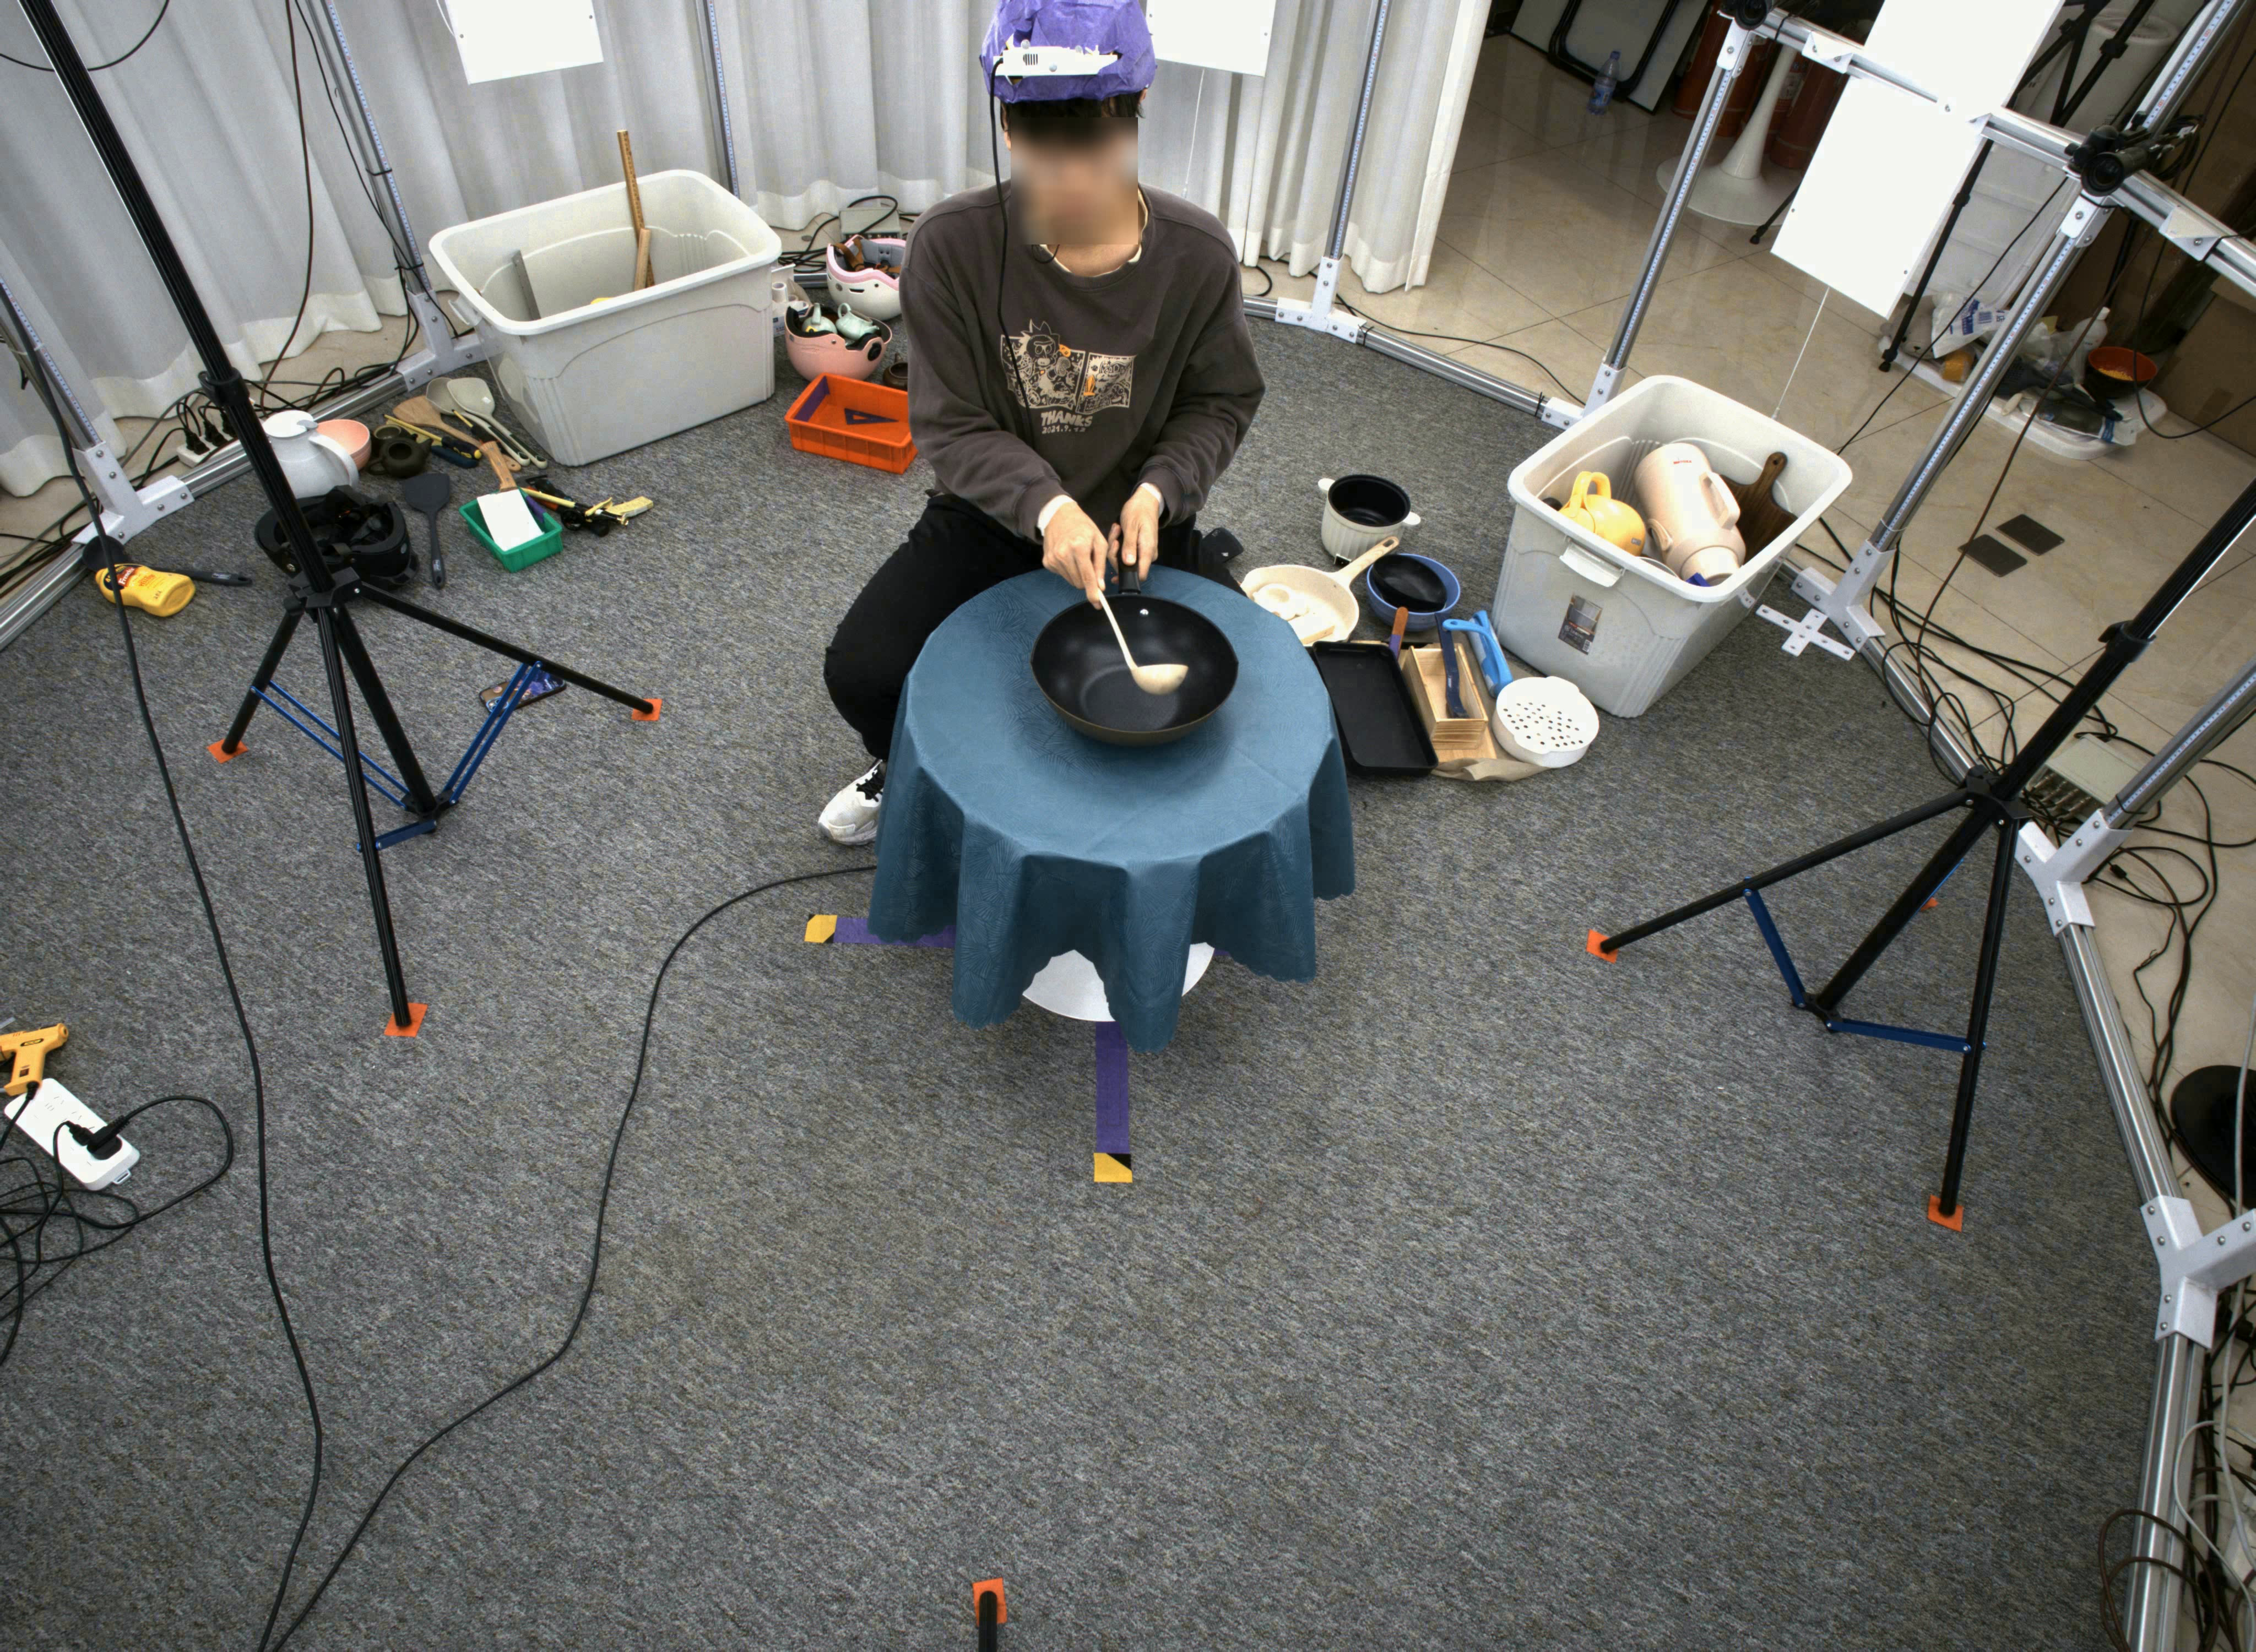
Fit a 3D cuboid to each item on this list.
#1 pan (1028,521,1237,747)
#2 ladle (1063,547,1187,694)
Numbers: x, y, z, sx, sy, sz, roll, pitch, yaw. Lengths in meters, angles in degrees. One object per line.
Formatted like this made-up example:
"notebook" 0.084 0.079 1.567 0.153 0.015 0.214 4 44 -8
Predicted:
"pan" 0.003 -0.272 1.849 0.288 0.085 0.475 0 48 -3
"ladle" -0.004 -0.297 1.751 0.072 0.072 0.257 -5 63 -59
